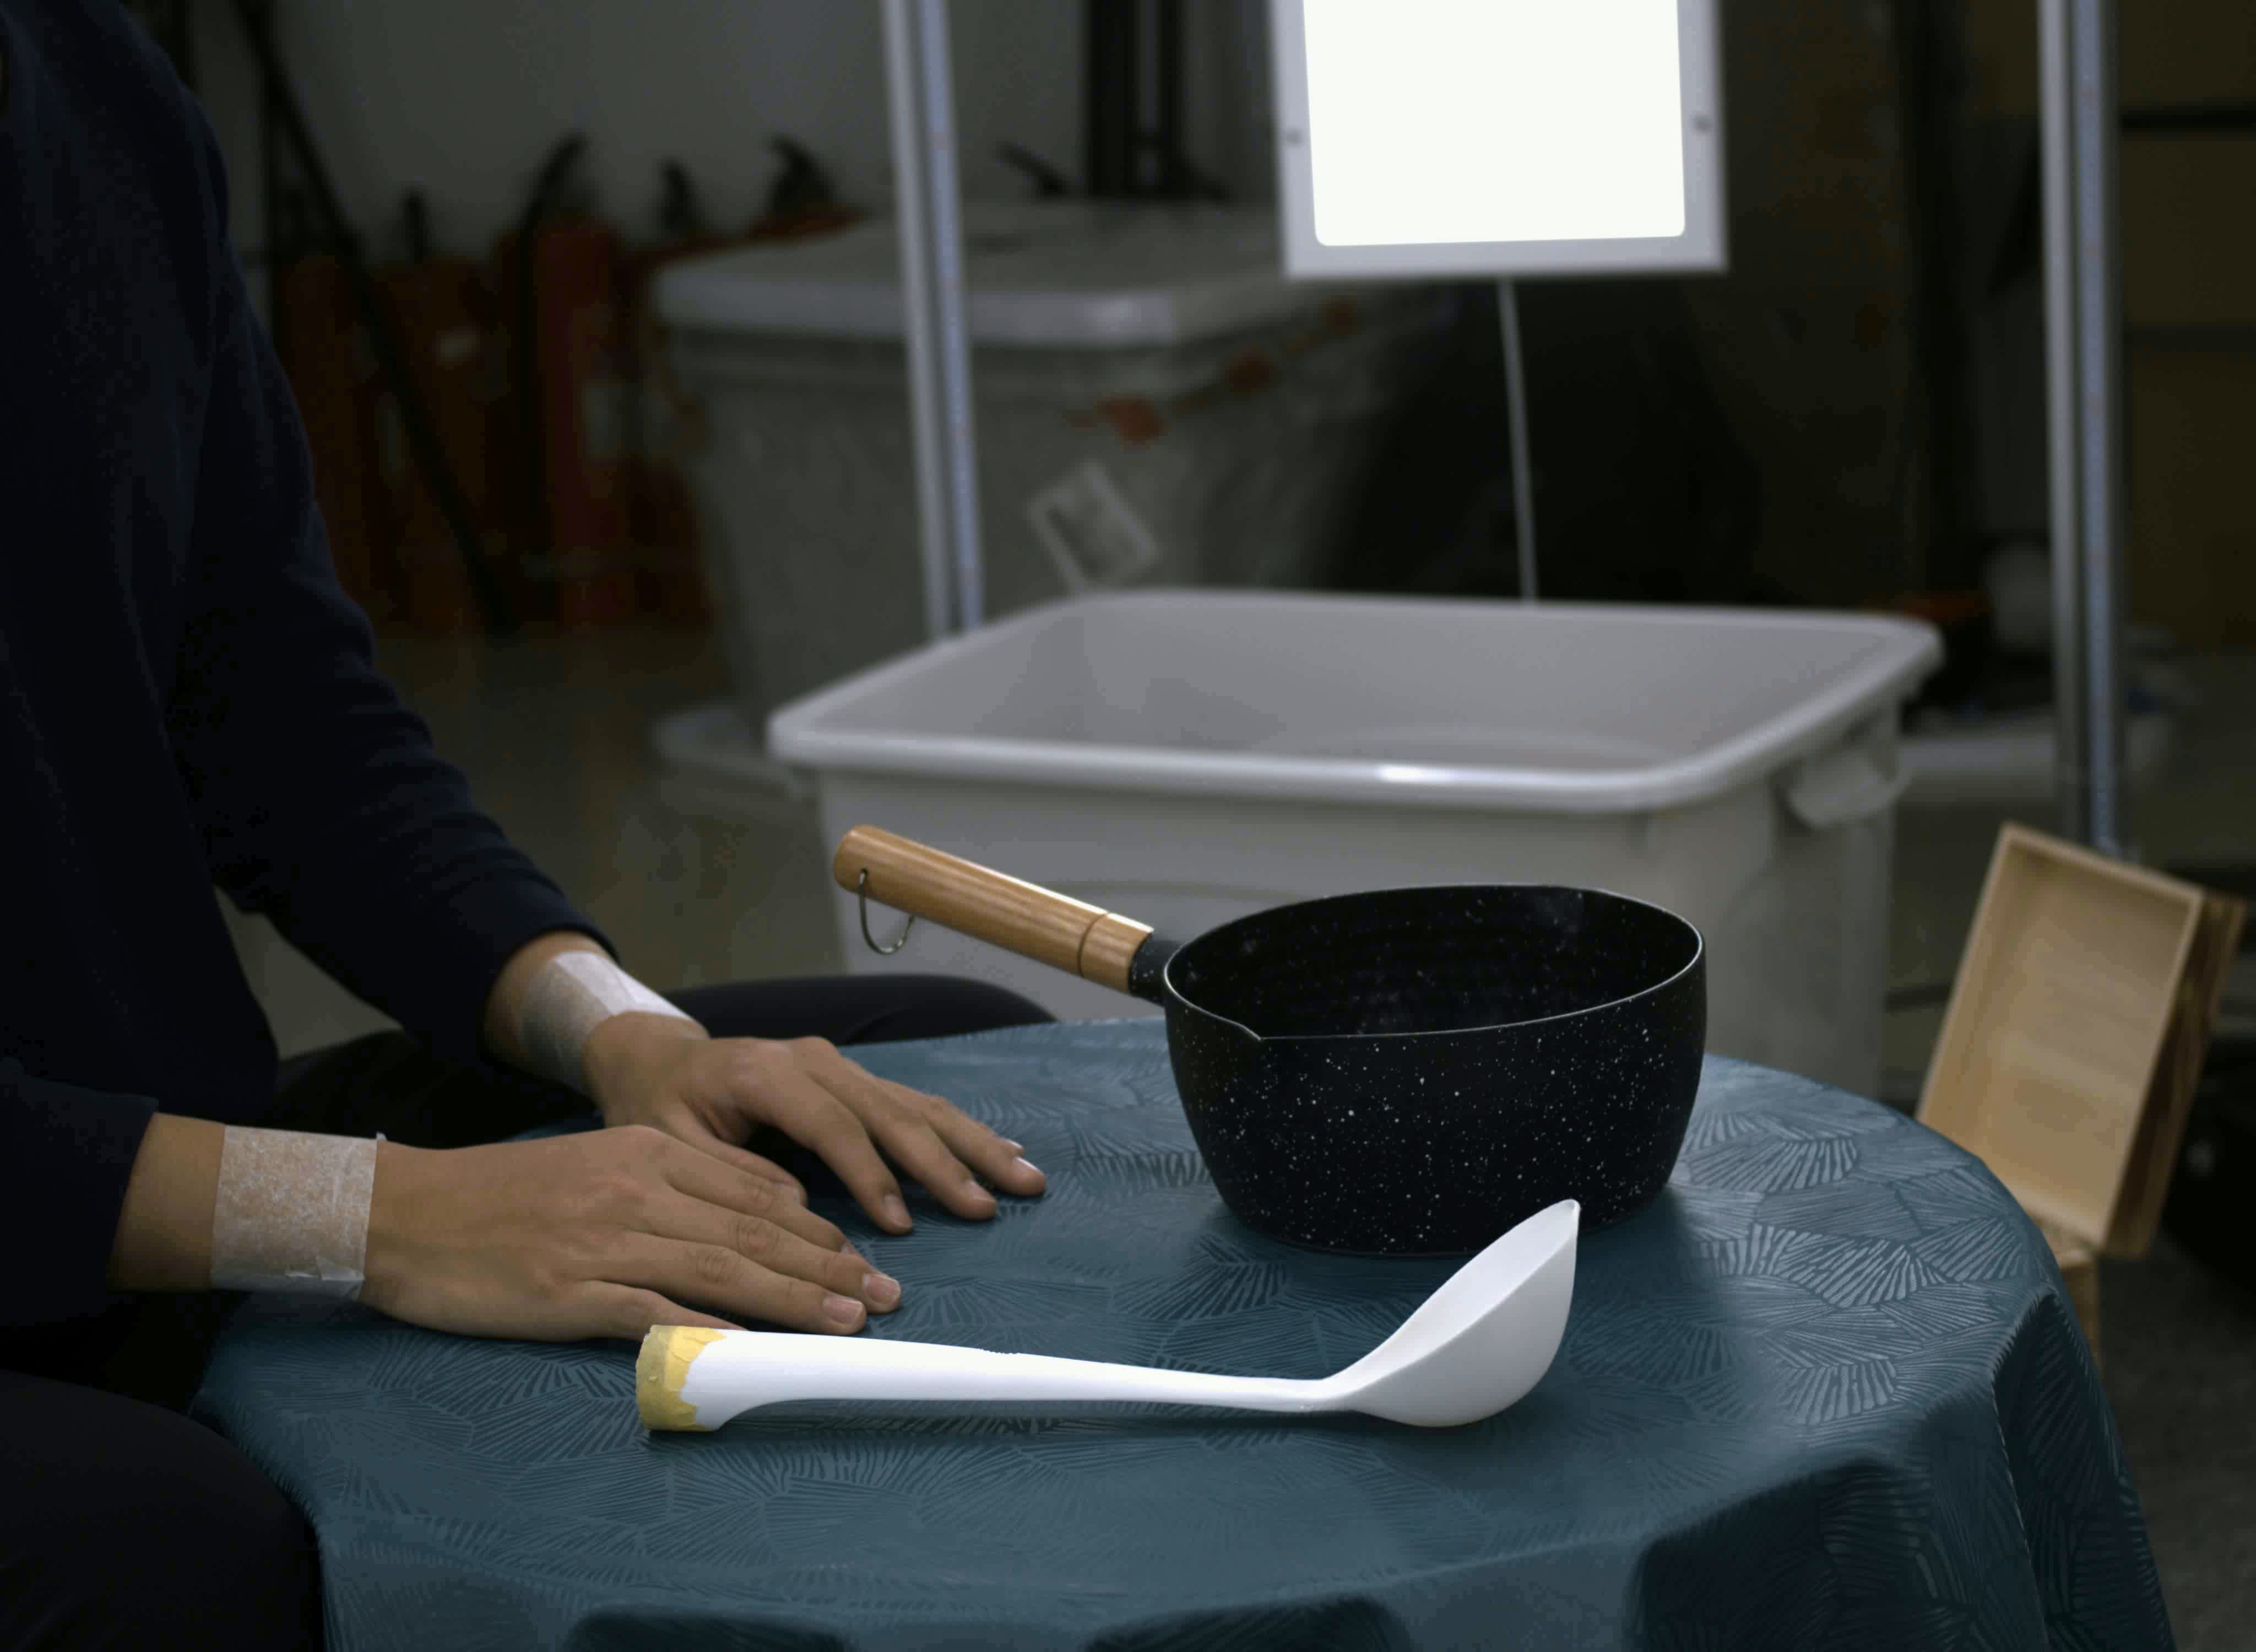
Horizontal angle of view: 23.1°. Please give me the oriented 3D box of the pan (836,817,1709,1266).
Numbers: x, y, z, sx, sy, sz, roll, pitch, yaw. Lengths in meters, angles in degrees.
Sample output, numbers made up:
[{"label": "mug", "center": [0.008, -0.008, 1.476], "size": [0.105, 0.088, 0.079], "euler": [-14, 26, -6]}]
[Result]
[{"label": "pan", "center": [0.039, 0.066, 1.902], "size": [0.350, 0.108, 0.202], "euler": [6, 19, 35]}]

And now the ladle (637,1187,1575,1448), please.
[{"label": "ladle", "center": [-0.008, 0.152, 1.659], "size": [0.295, 0.070, 0.089], "euler": [-2, 21, 14]}]
